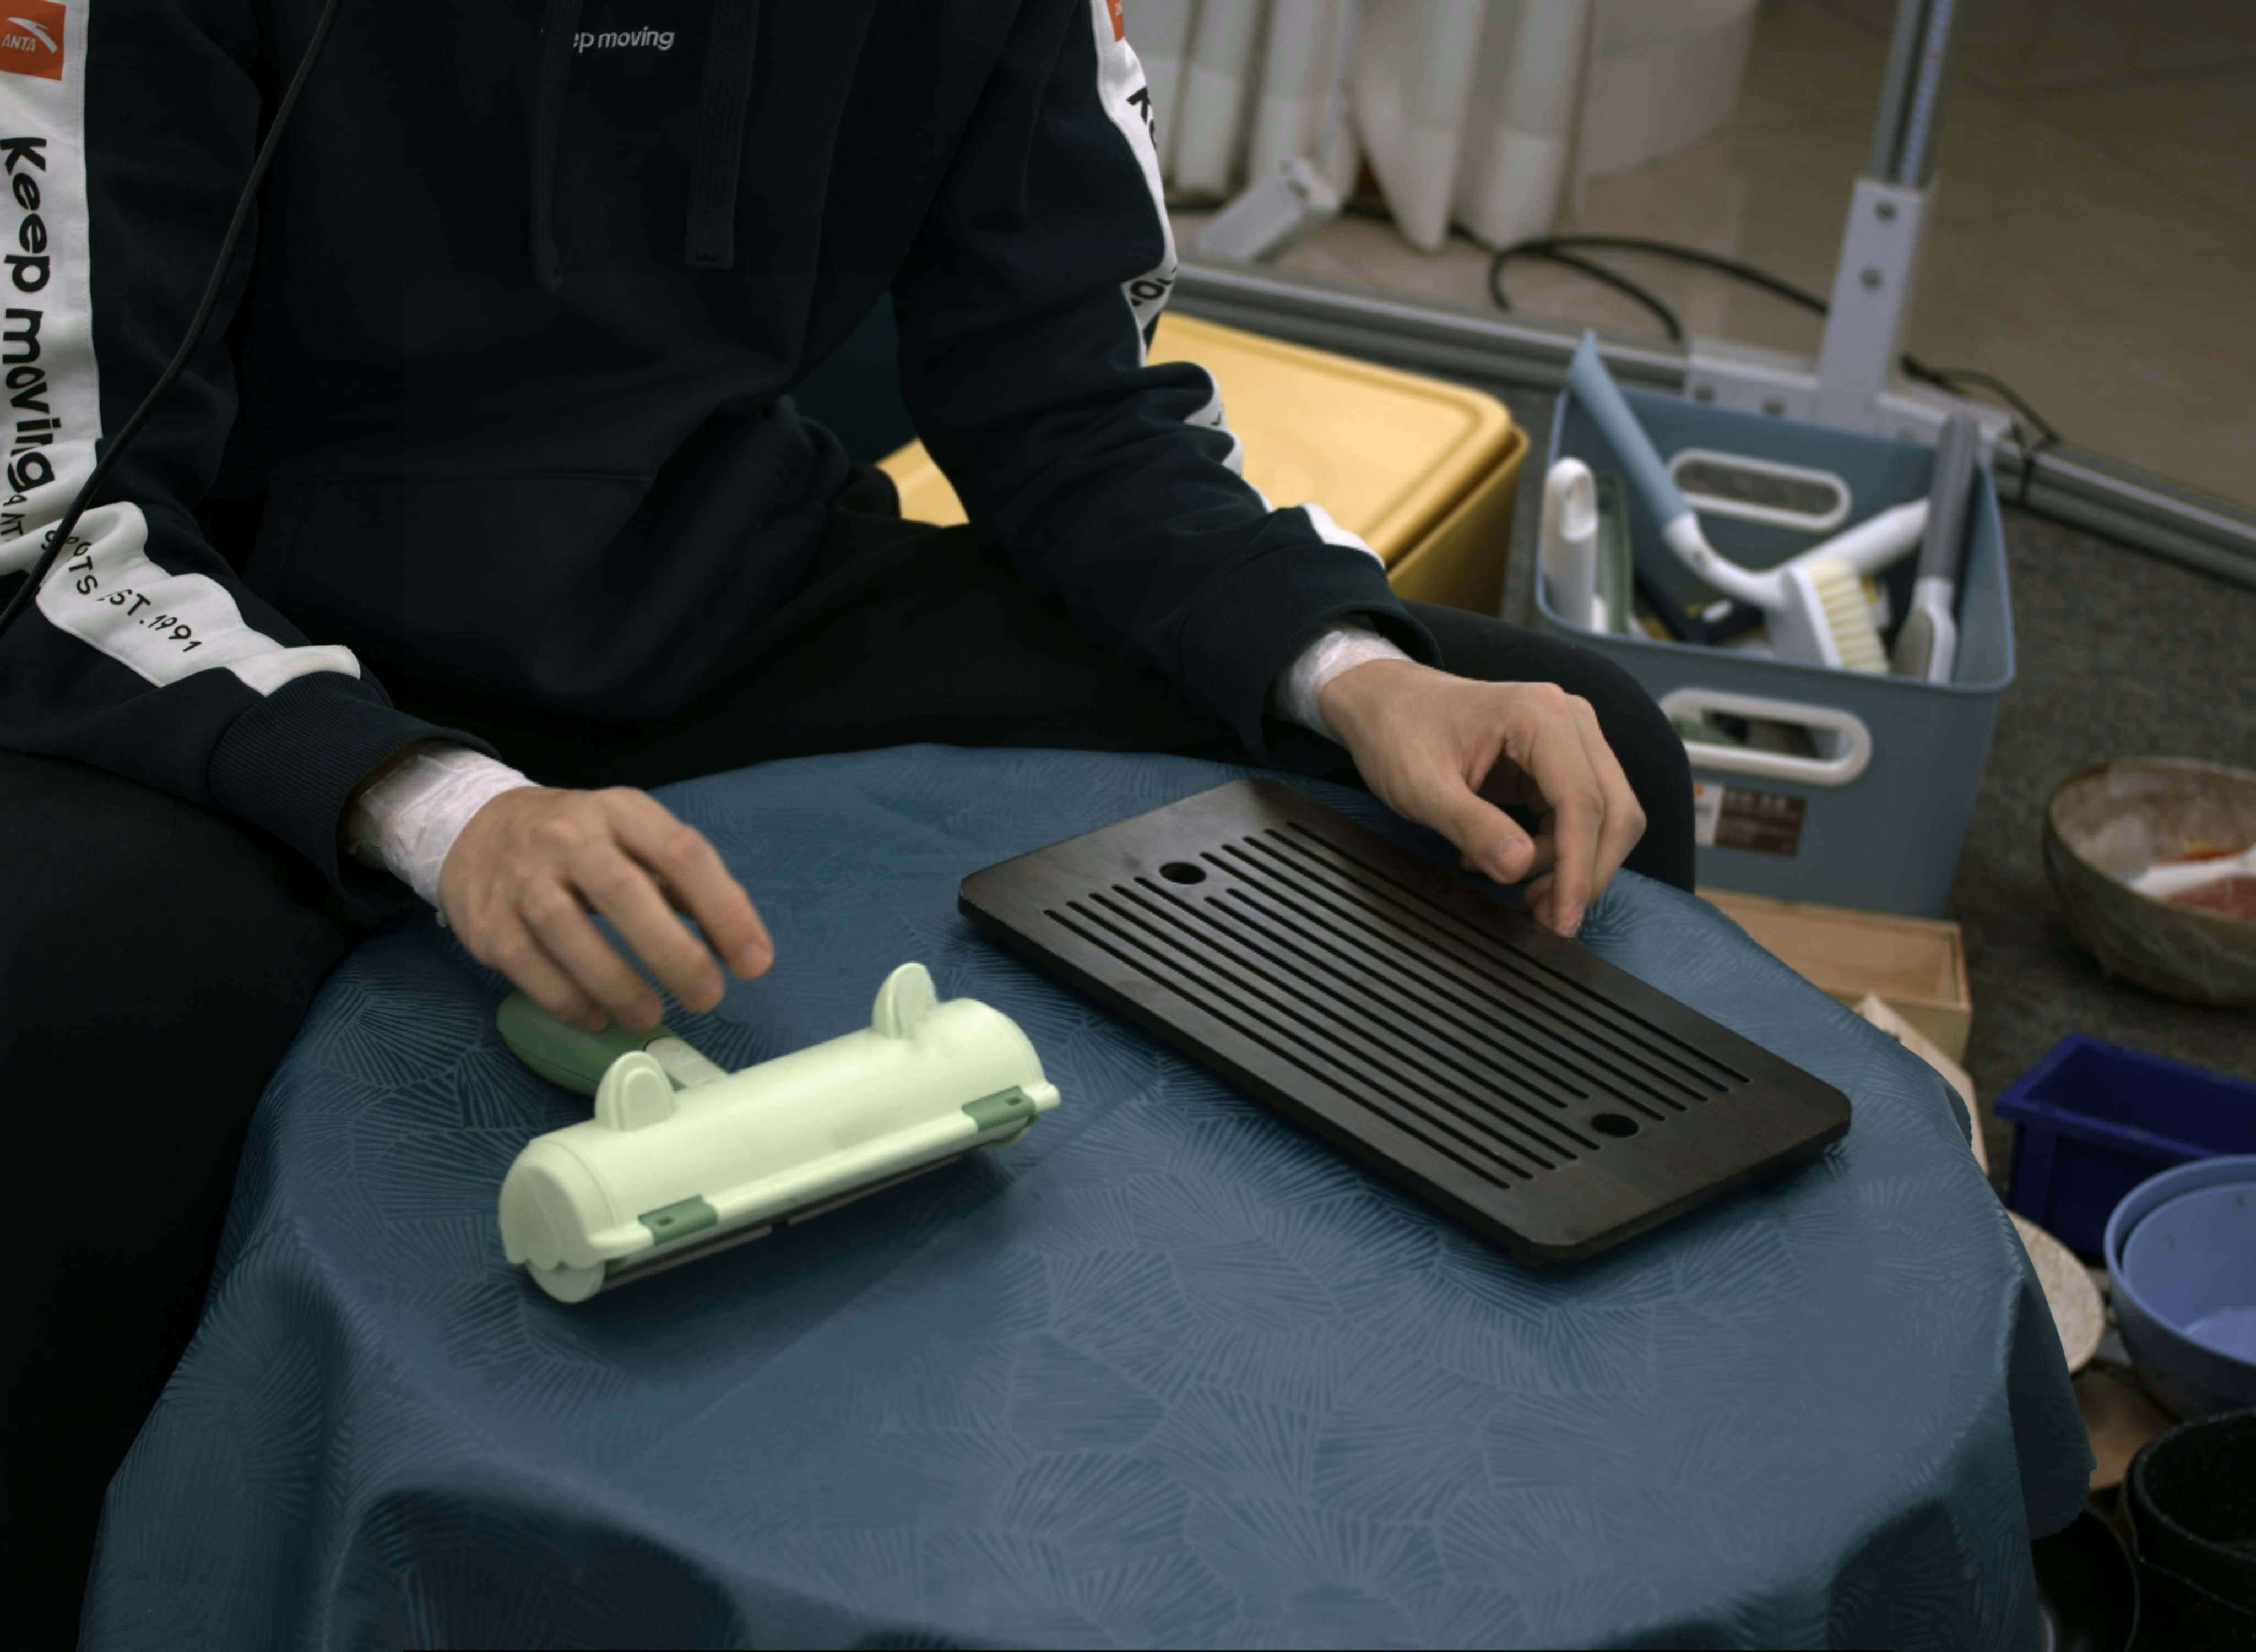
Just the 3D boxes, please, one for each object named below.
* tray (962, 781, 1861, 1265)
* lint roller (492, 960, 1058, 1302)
[{"bbox_3d":[0.098,0.067,1.911,0.169,0.018,0.308,-19,36,-40],"label":"tray"},{"bbox_3d":[-0.151,0.074,1.775,0.197,0.082,0.185,-17,38,-38],"label":"lint roller"}]
